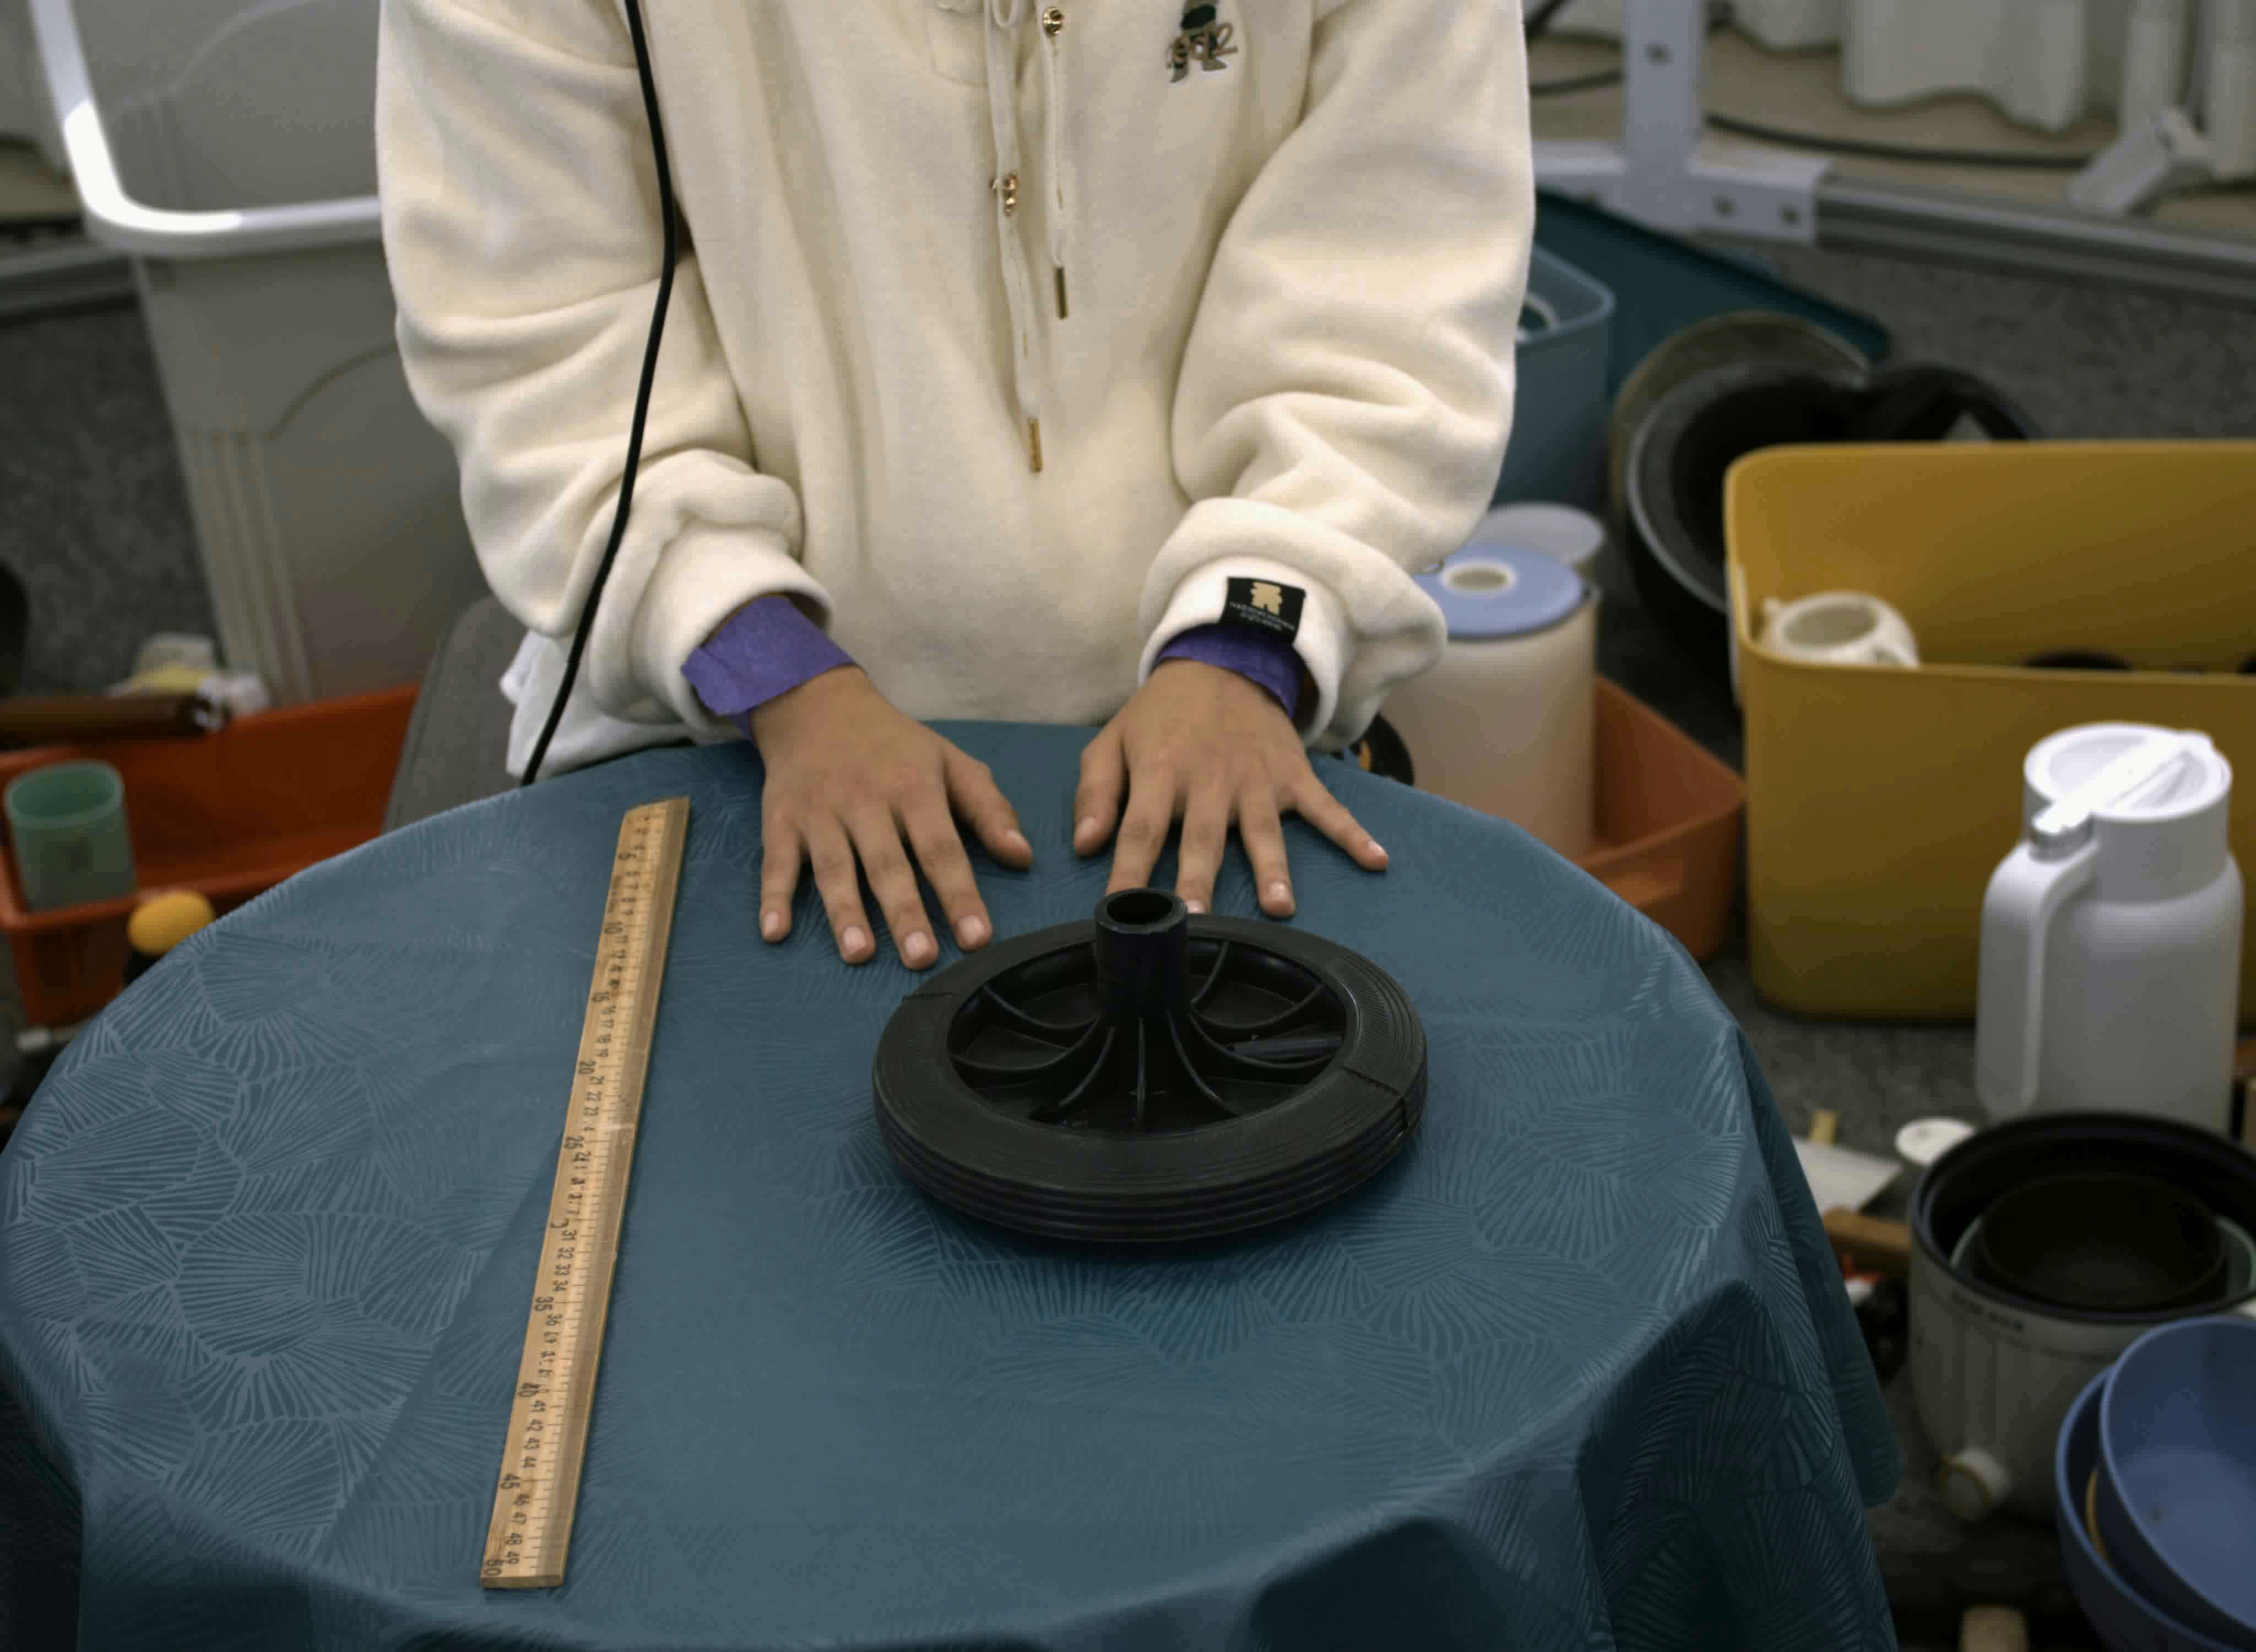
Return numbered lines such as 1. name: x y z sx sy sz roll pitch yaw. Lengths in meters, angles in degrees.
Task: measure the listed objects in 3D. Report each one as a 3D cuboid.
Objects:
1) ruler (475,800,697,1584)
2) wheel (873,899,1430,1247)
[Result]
1. ruler: -0.180 0.109 1.899 0.026 0.006 0.508 -3 27 2
2. wheel: 0.007 0.066 1.885 0.191 0.078 0.188 -16 30 -24
